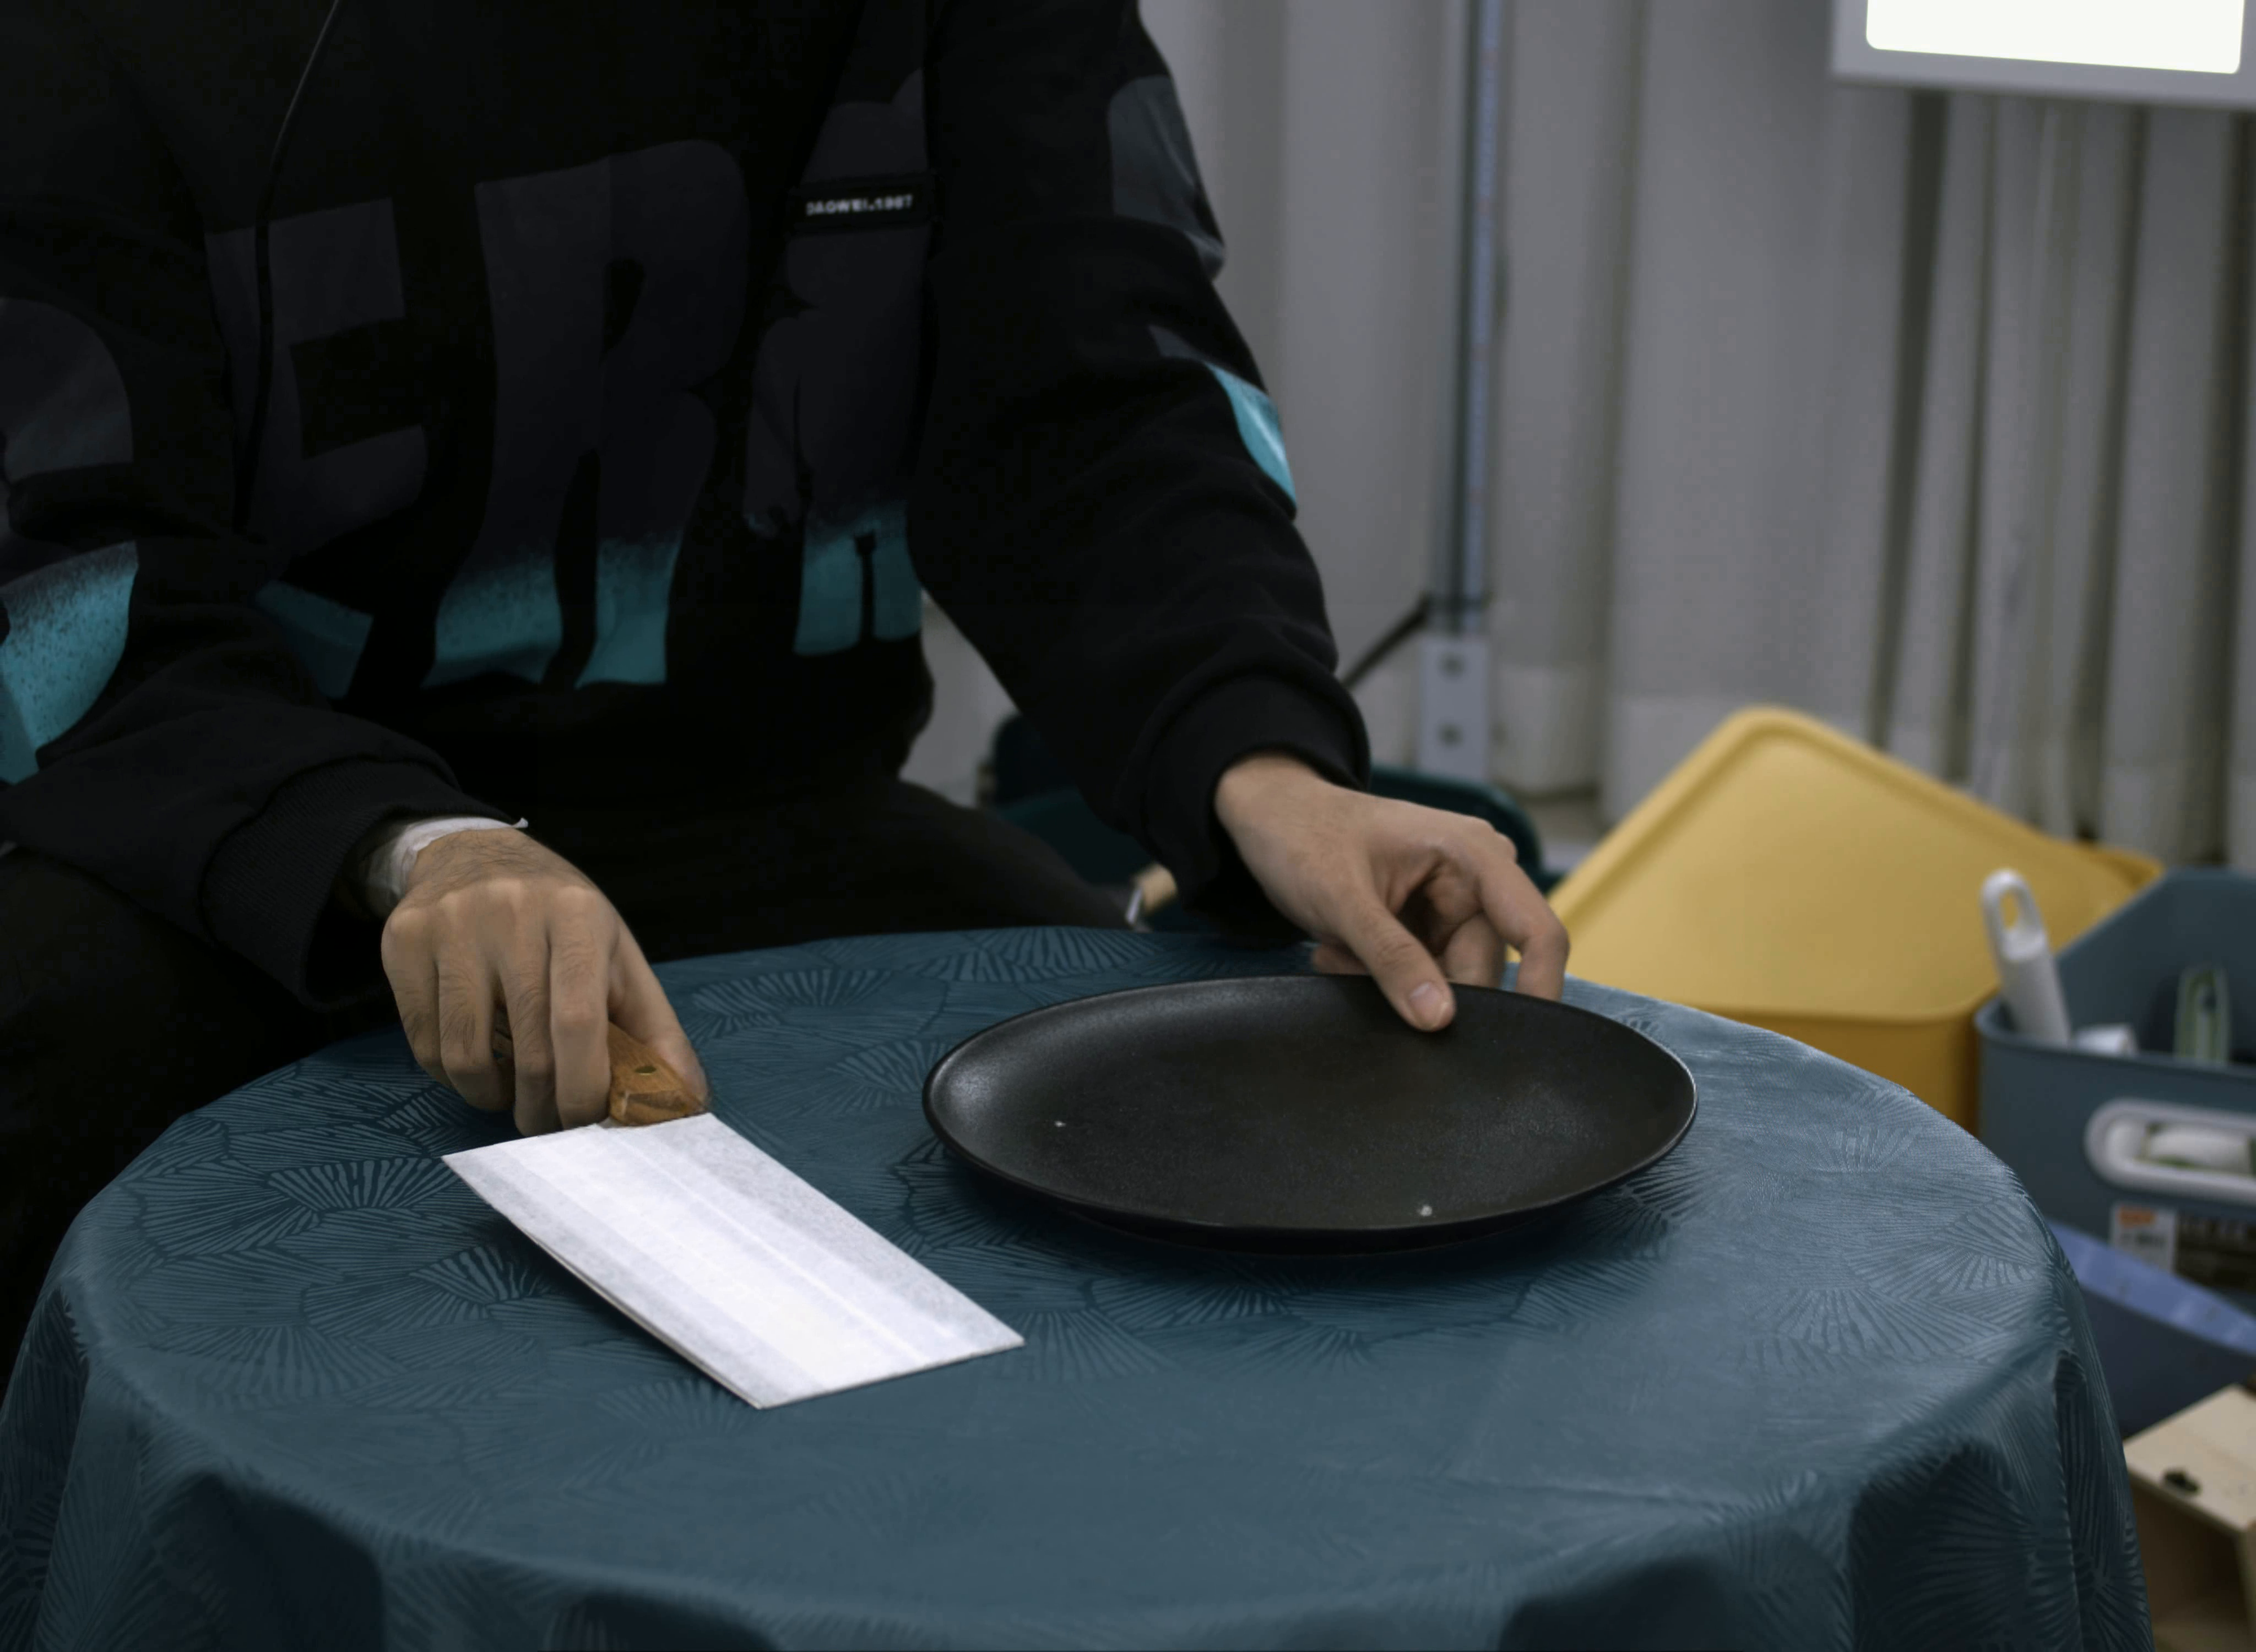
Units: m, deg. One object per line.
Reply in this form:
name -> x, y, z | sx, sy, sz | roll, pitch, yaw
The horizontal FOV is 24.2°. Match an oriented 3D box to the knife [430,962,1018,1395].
knife -> -0.149, 0.105, 1.584 | 0.093, 0.021, 0.301 | -11, 25, -33

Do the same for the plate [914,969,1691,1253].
plate -> 0.055, 0.092, 1.649 | 0.243, 0.023, 0.243 | 0, 16, 1
